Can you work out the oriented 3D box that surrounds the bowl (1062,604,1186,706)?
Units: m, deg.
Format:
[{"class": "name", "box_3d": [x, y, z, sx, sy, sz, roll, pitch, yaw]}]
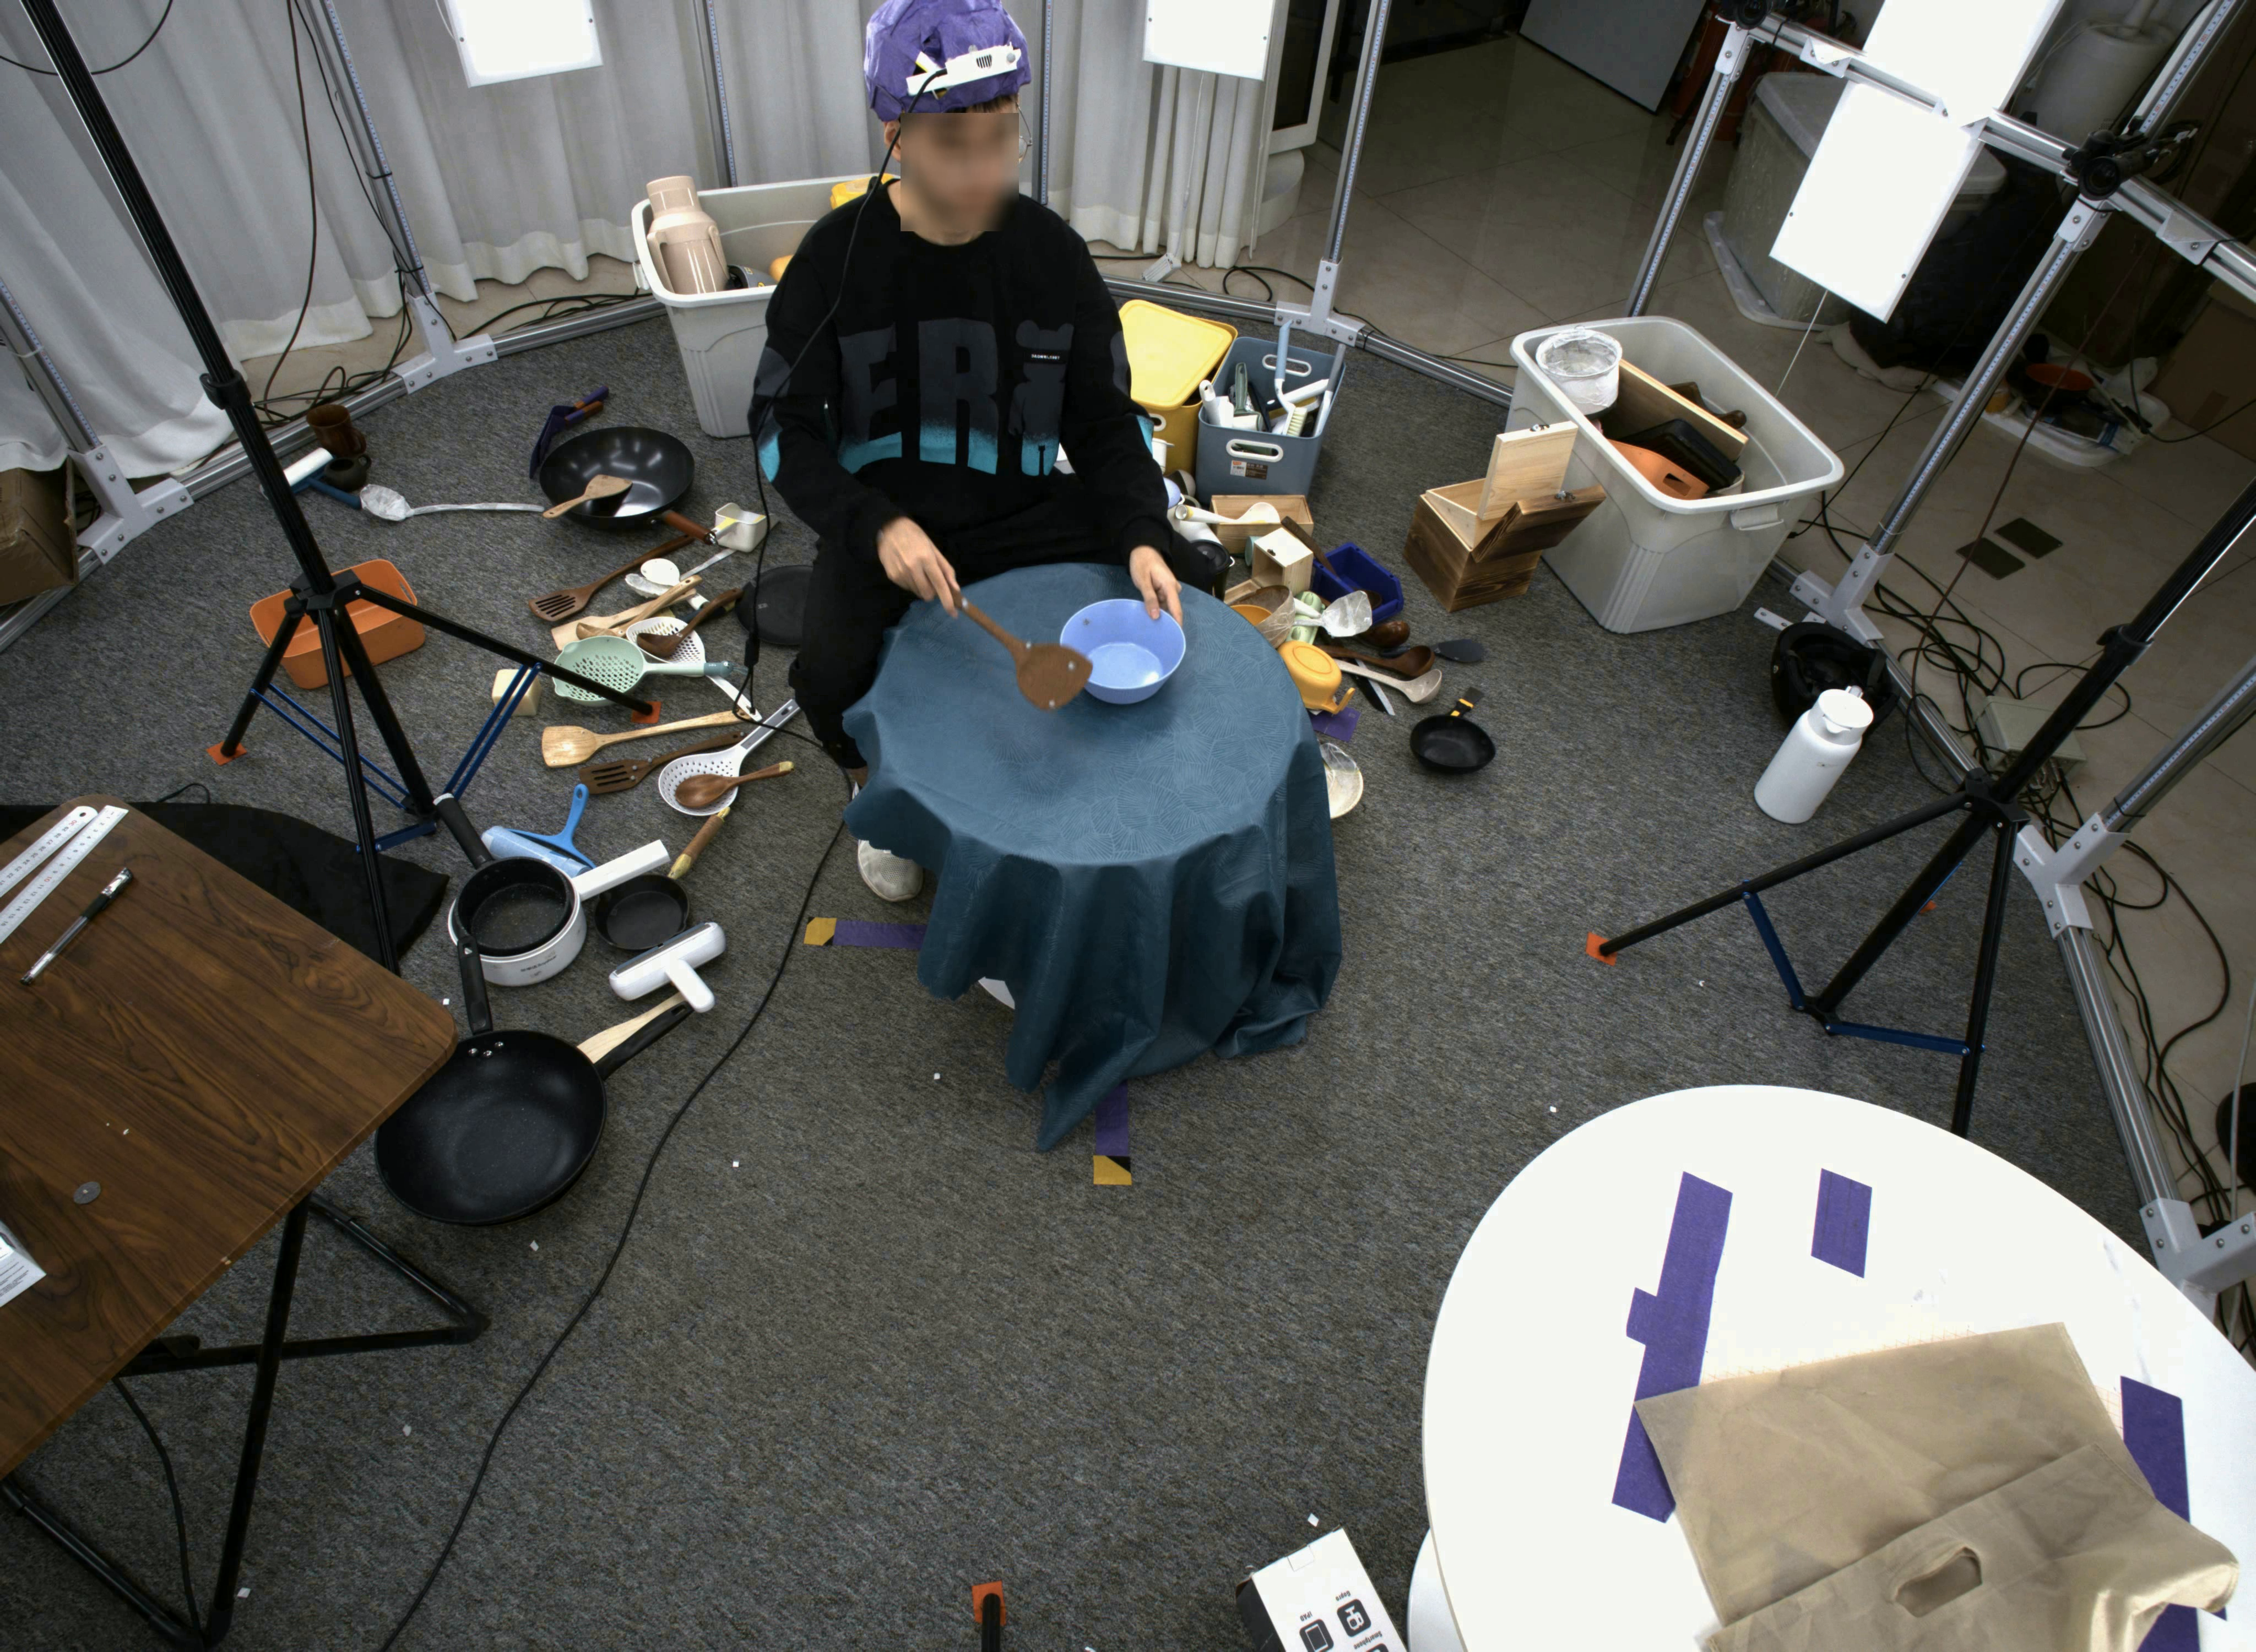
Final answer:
[{"class": "bowl", "box_3d": [-0.006, -0.236, 1.841, 0.176, 0.068, 0.180, 0, 50, 0]}]

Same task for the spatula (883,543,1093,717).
[{"class": "spatula", "box_3d": [-0.205, -0.280, 1.757, 0.391, 0.015, 0.096, 40, 77, 22]}]
